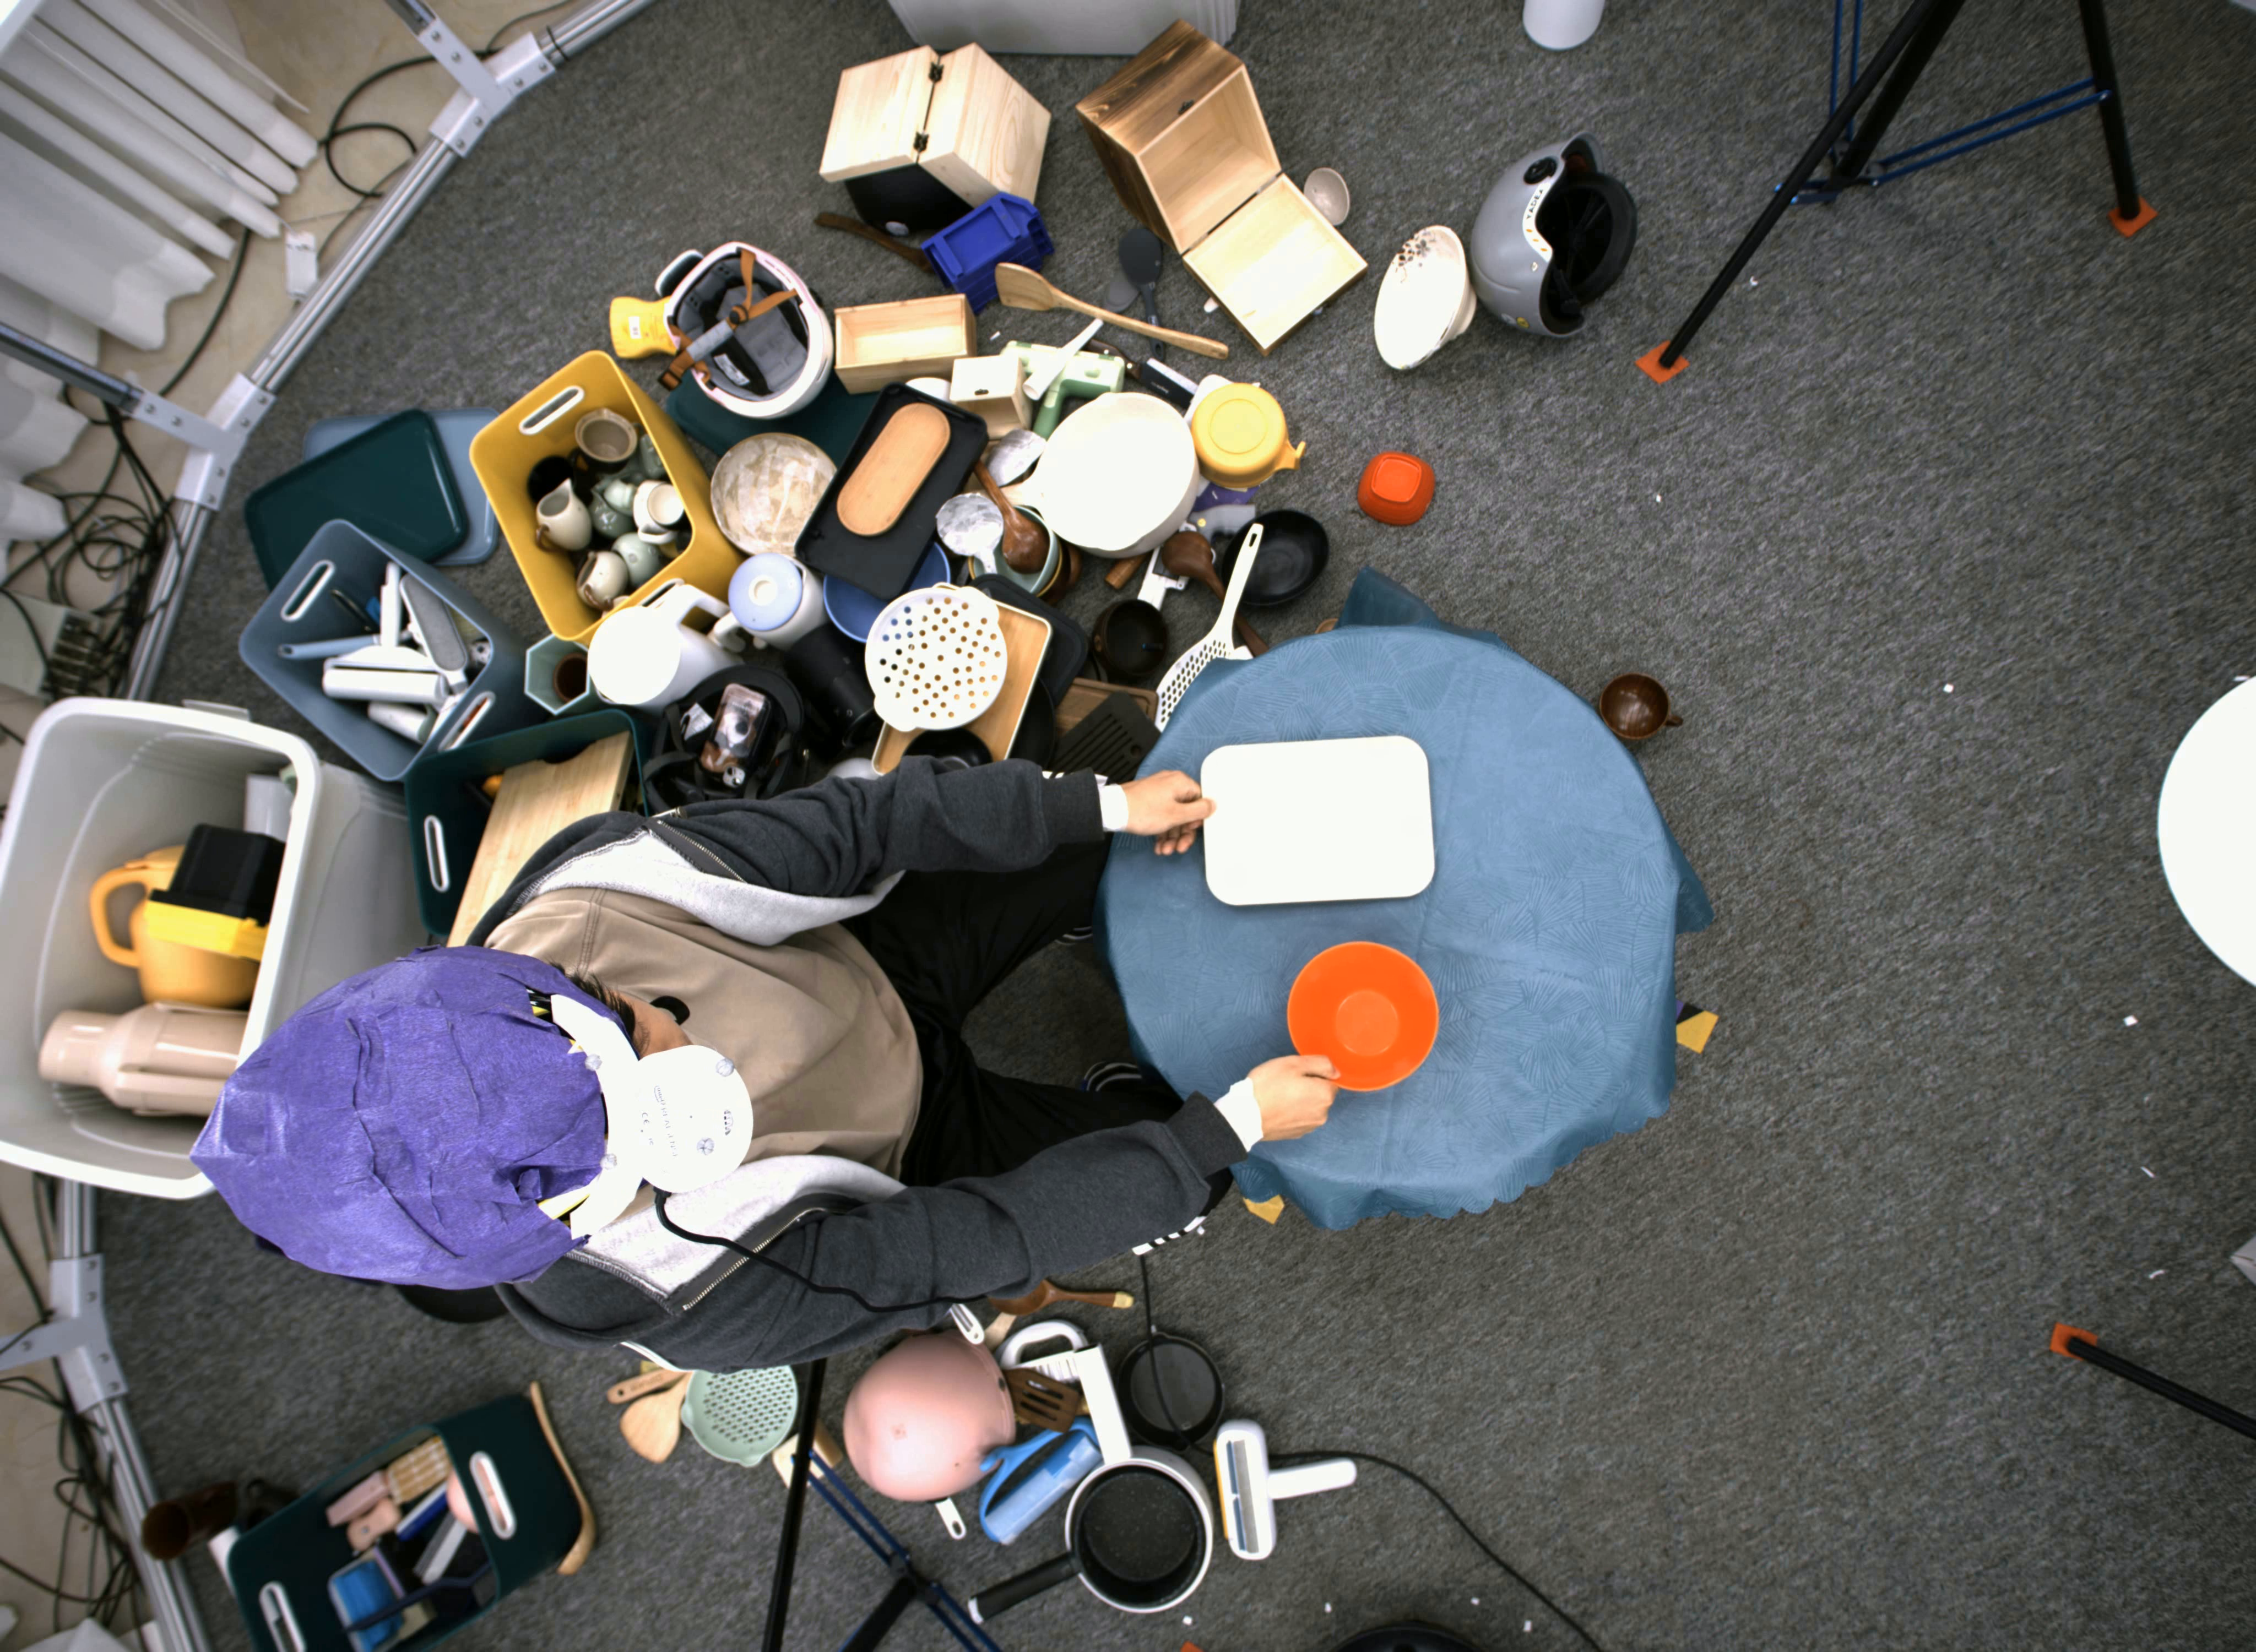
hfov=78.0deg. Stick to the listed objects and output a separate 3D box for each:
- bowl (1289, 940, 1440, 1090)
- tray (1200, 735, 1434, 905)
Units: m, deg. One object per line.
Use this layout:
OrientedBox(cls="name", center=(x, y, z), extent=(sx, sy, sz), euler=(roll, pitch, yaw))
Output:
OrientedBox(cls="bowl", center=(0.240, 0.190, 1.404), extent=(0.148, 0.105, 0.147), euler=(-1, 86, 10))
OrientedBox(cls="tray", center=(0.198, -0.007, 1.458), extent=(0.240, 0.017, 0.170), euler=(-3, 87, 5))
